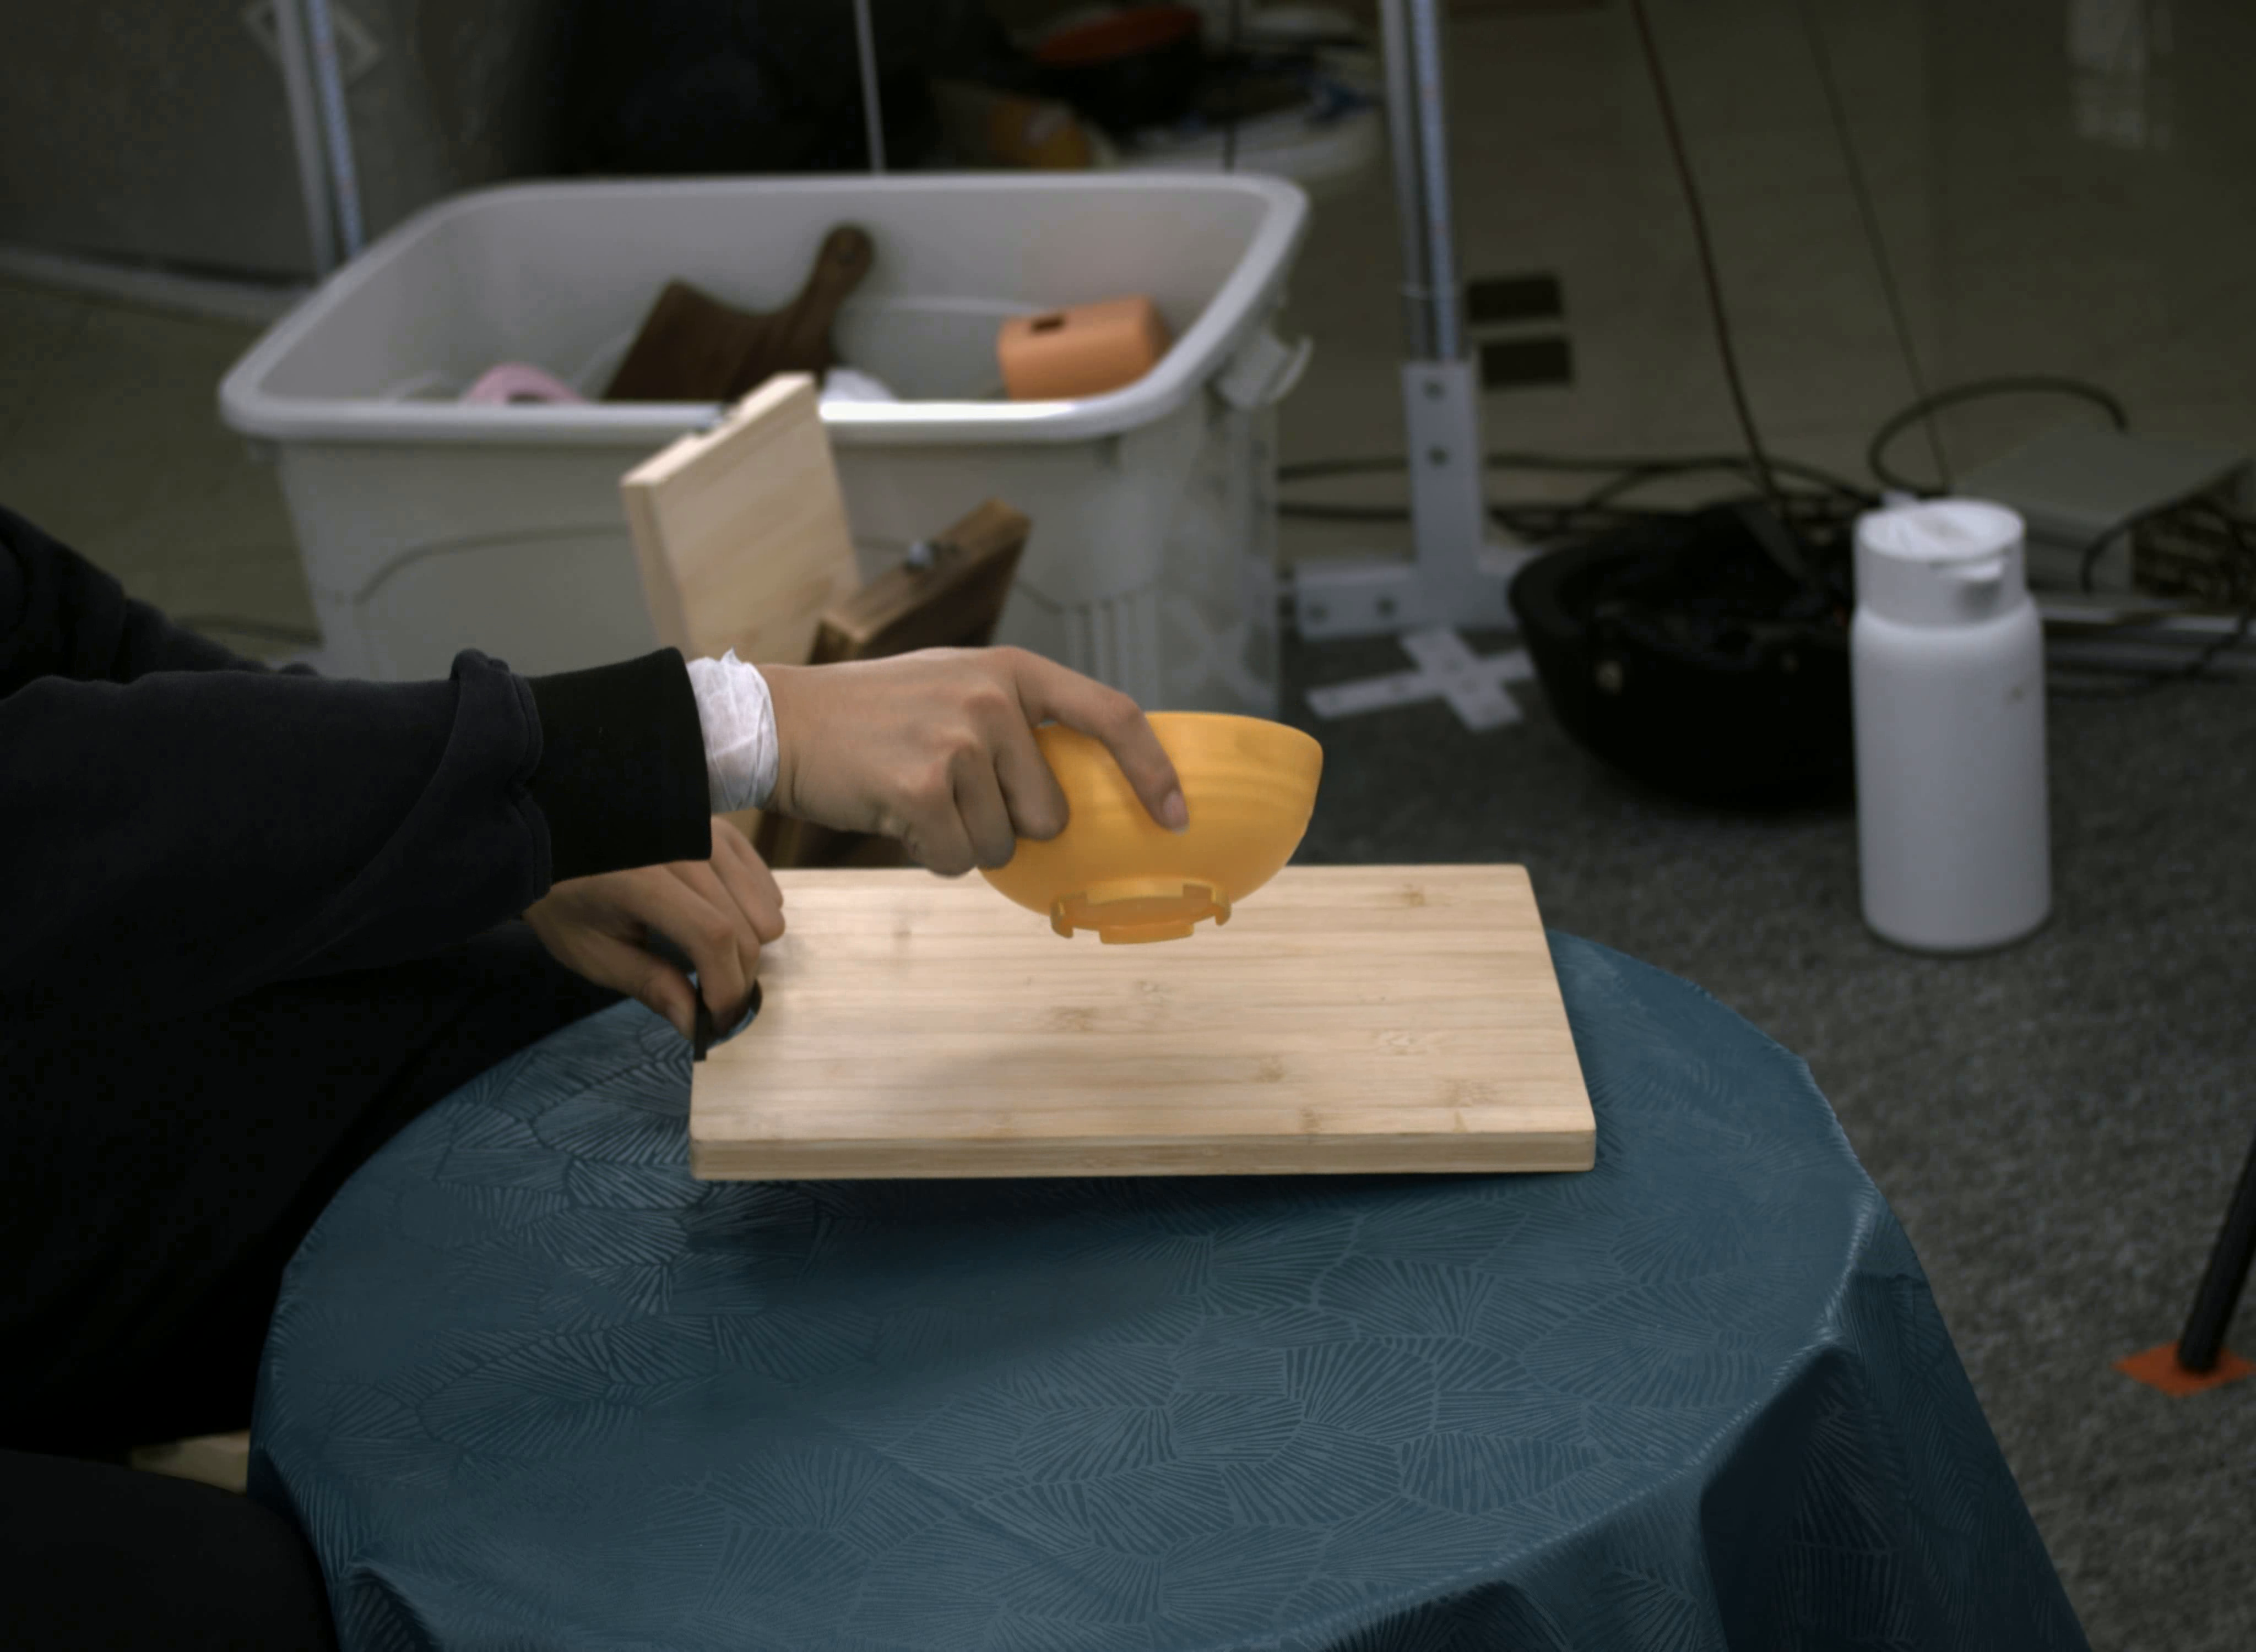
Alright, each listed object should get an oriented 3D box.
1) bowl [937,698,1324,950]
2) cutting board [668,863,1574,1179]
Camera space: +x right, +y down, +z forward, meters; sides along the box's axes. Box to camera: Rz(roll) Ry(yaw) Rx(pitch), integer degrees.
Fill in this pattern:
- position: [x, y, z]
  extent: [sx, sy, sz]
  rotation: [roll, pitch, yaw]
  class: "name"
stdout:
- position: [0.004, 0.007, 2.084]
  extent: [0.145, 0.147, 0.059]
  rotation: [-5, 70, -2]
  class: "bowl"
- position: [-0.005, 0.074, 2.225]
  extent: [0.348, 0.024, 0.247]
  rotation: [0, 25, -4]
  class: "cutting board"
